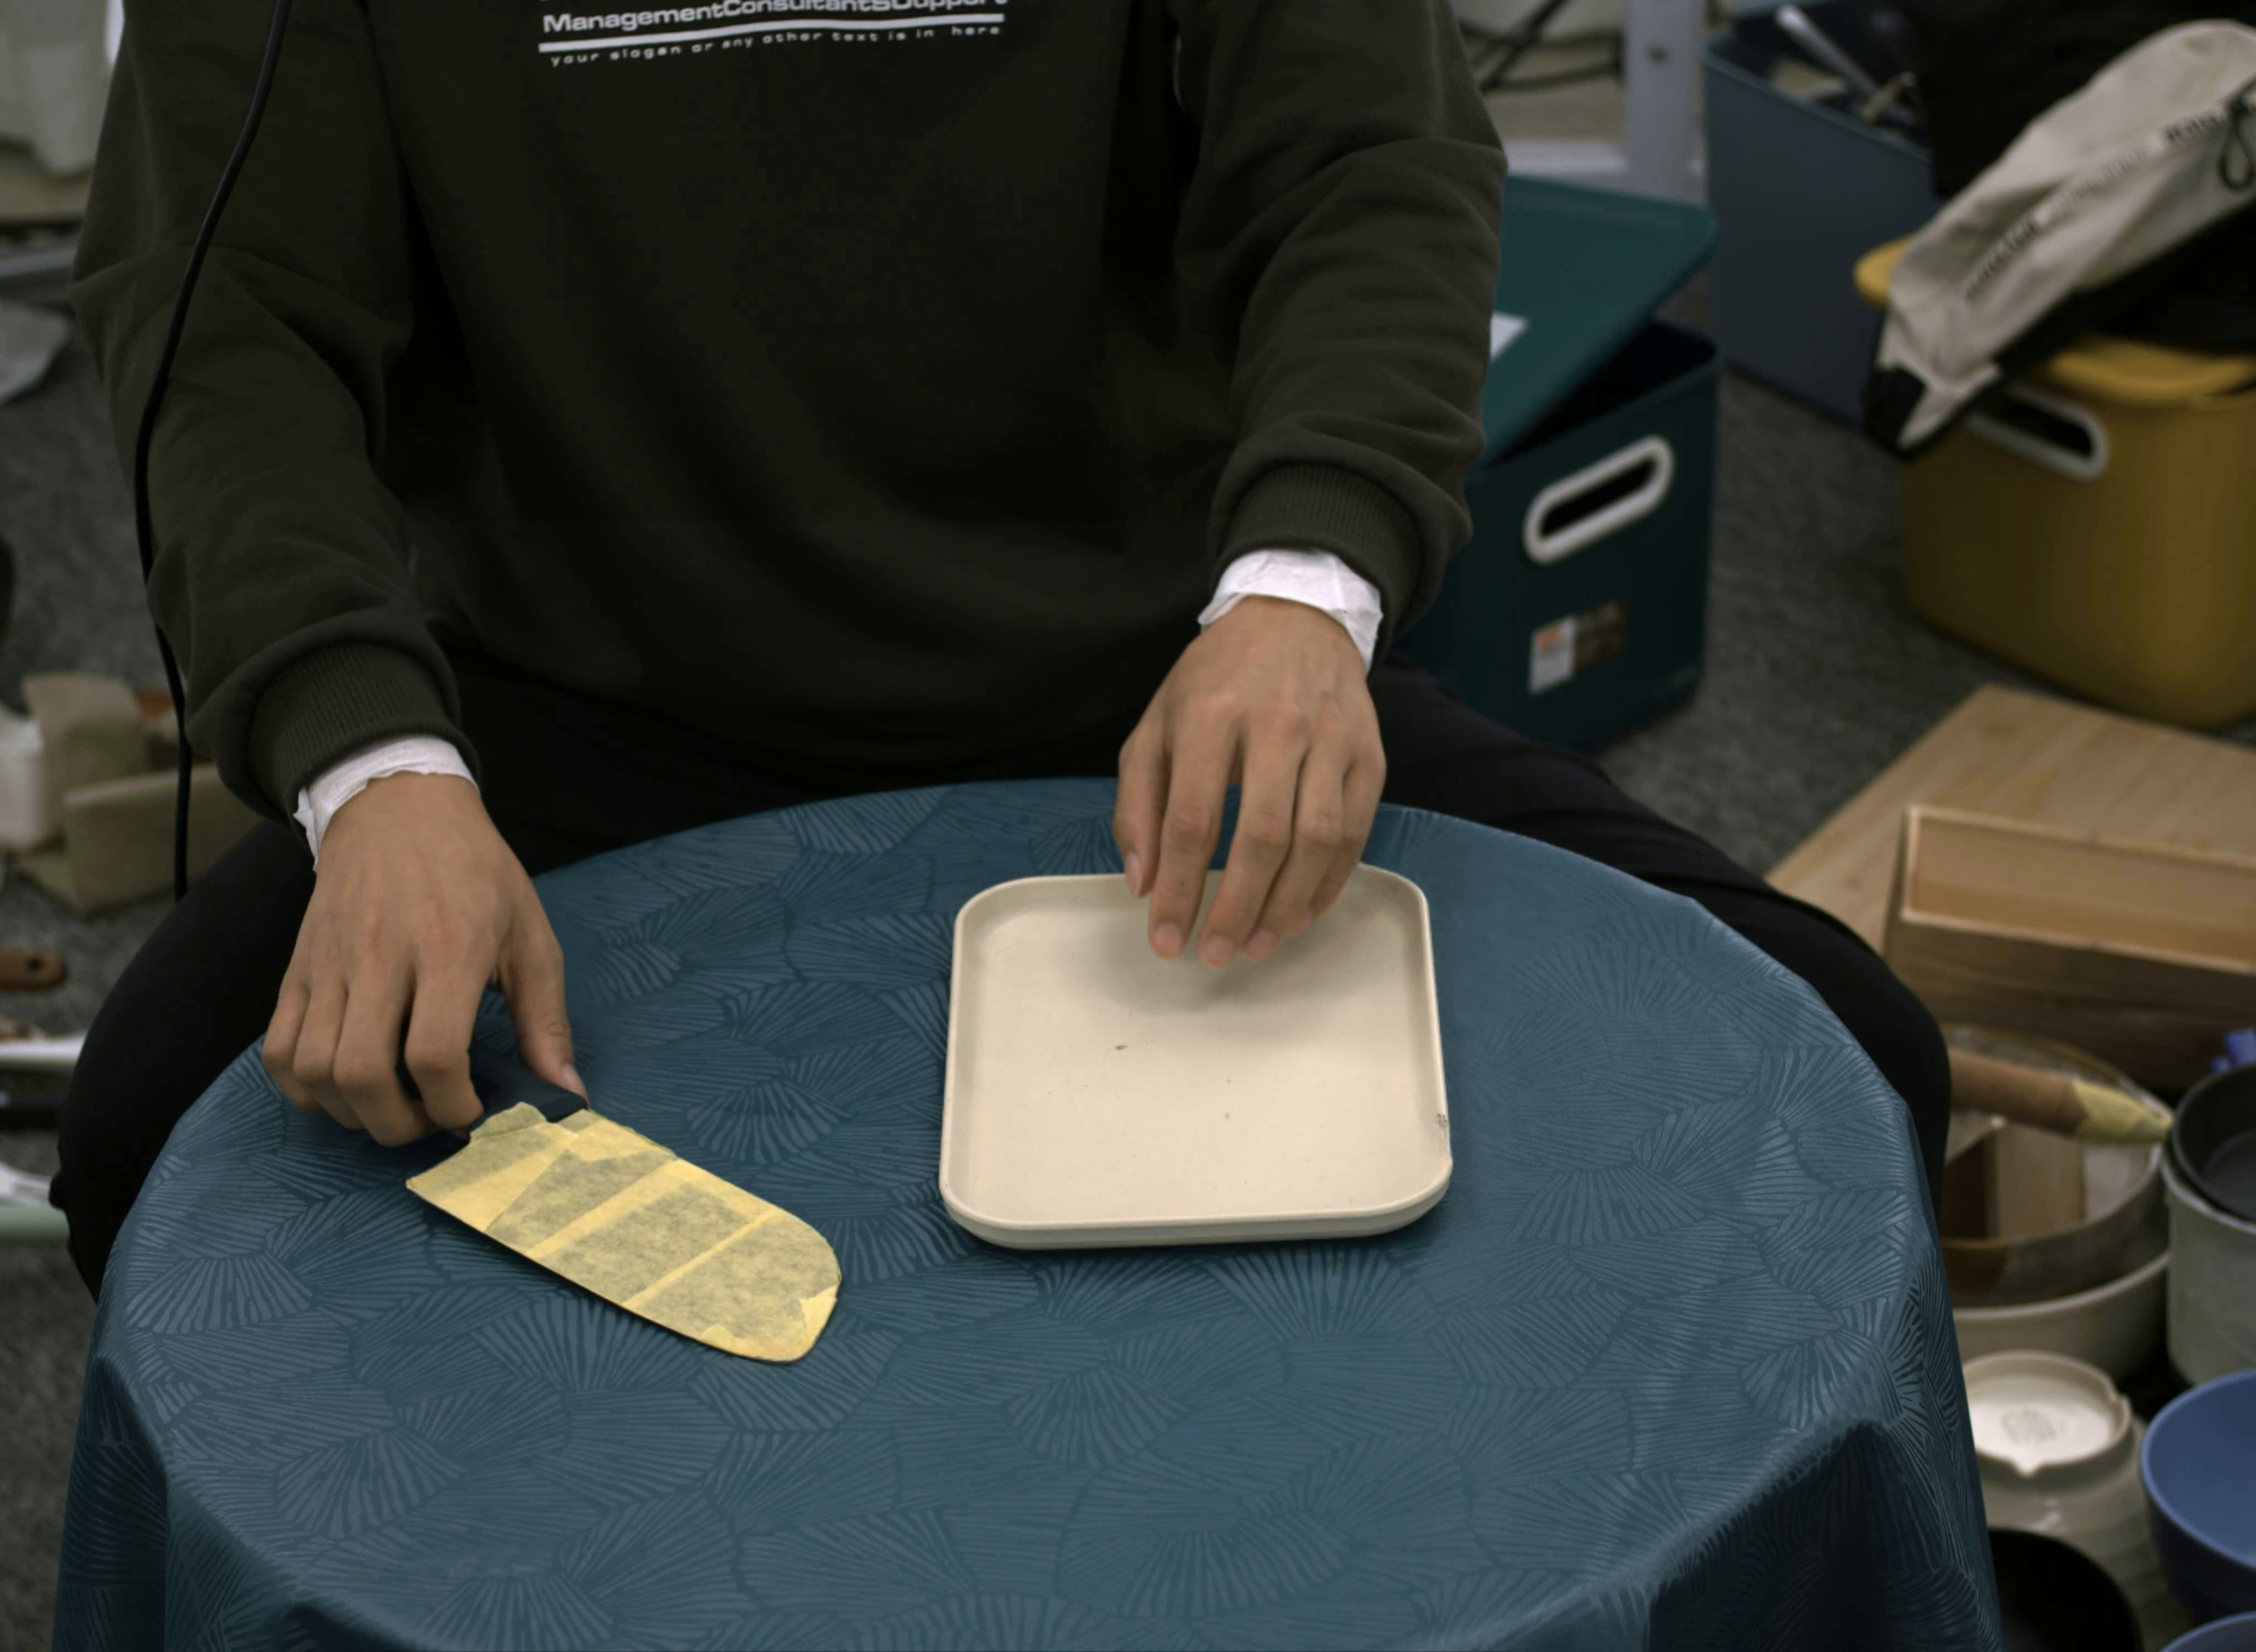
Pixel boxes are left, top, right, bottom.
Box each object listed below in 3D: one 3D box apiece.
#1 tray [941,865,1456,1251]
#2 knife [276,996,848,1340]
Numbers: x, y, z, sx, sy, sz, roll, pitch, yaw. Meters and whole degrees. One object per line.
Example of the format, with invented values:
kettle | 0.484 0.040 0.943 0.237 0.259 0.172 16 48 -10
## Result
tray | 0.023 0.079 1.924 0.170 0.017 0.243 -3 27 1
knife | -0.199 0.115 1.876 0.289 0.027 0.082 24 36 39
